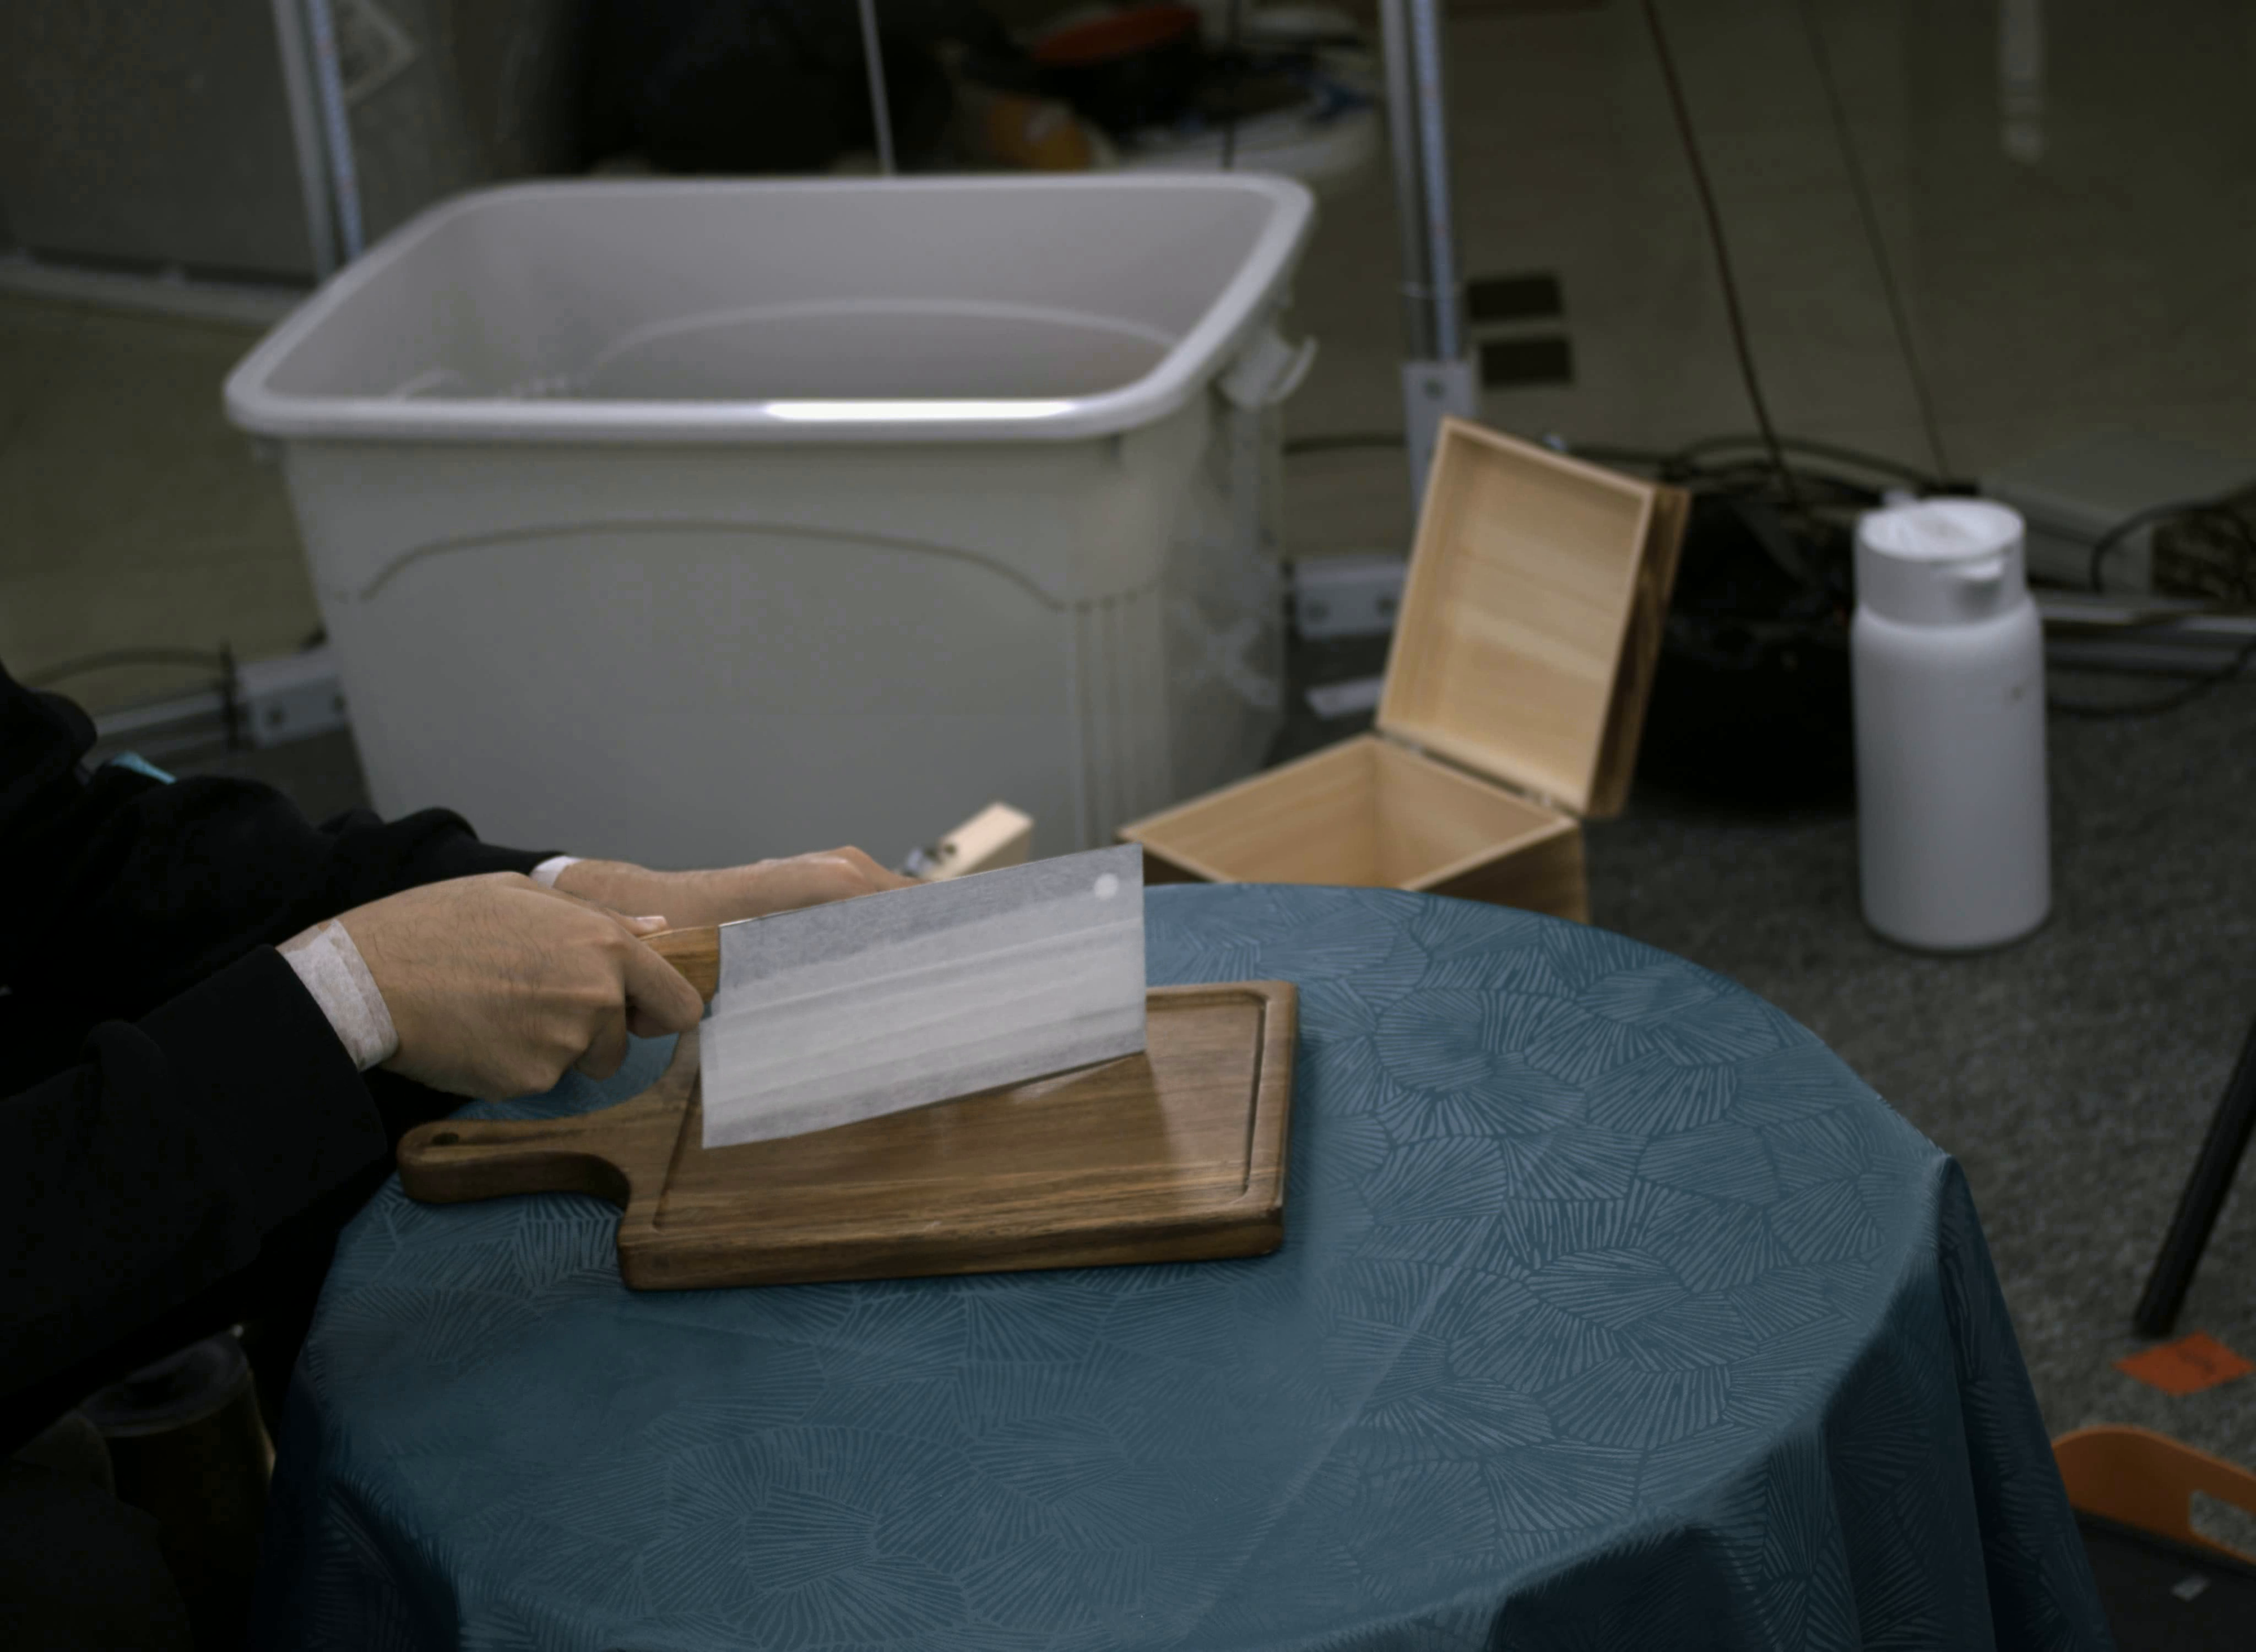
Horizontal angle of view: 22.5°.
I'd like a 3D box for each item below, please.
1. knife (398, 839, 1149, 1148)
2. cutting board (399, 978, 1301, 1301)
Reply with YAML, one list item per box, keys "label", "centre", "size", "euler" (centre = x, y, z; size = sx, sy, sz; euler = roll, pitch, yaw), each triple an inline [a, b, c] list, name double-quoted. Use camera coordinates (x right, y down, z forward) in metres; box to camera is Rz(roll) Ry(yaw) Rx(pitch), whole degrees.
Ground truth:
- label: "knife"
  centre: [-0.128, 0.073, 2.135]
  size: [0.304, 0.094, 0.021]
  euler: [-12, 25, -25]
- label: "cutting board"
  centre: [-0.109, 0.123, 2.191]
  size: [0.351, 0.023, 0.198]
  euler: [-6, 24, 7]
